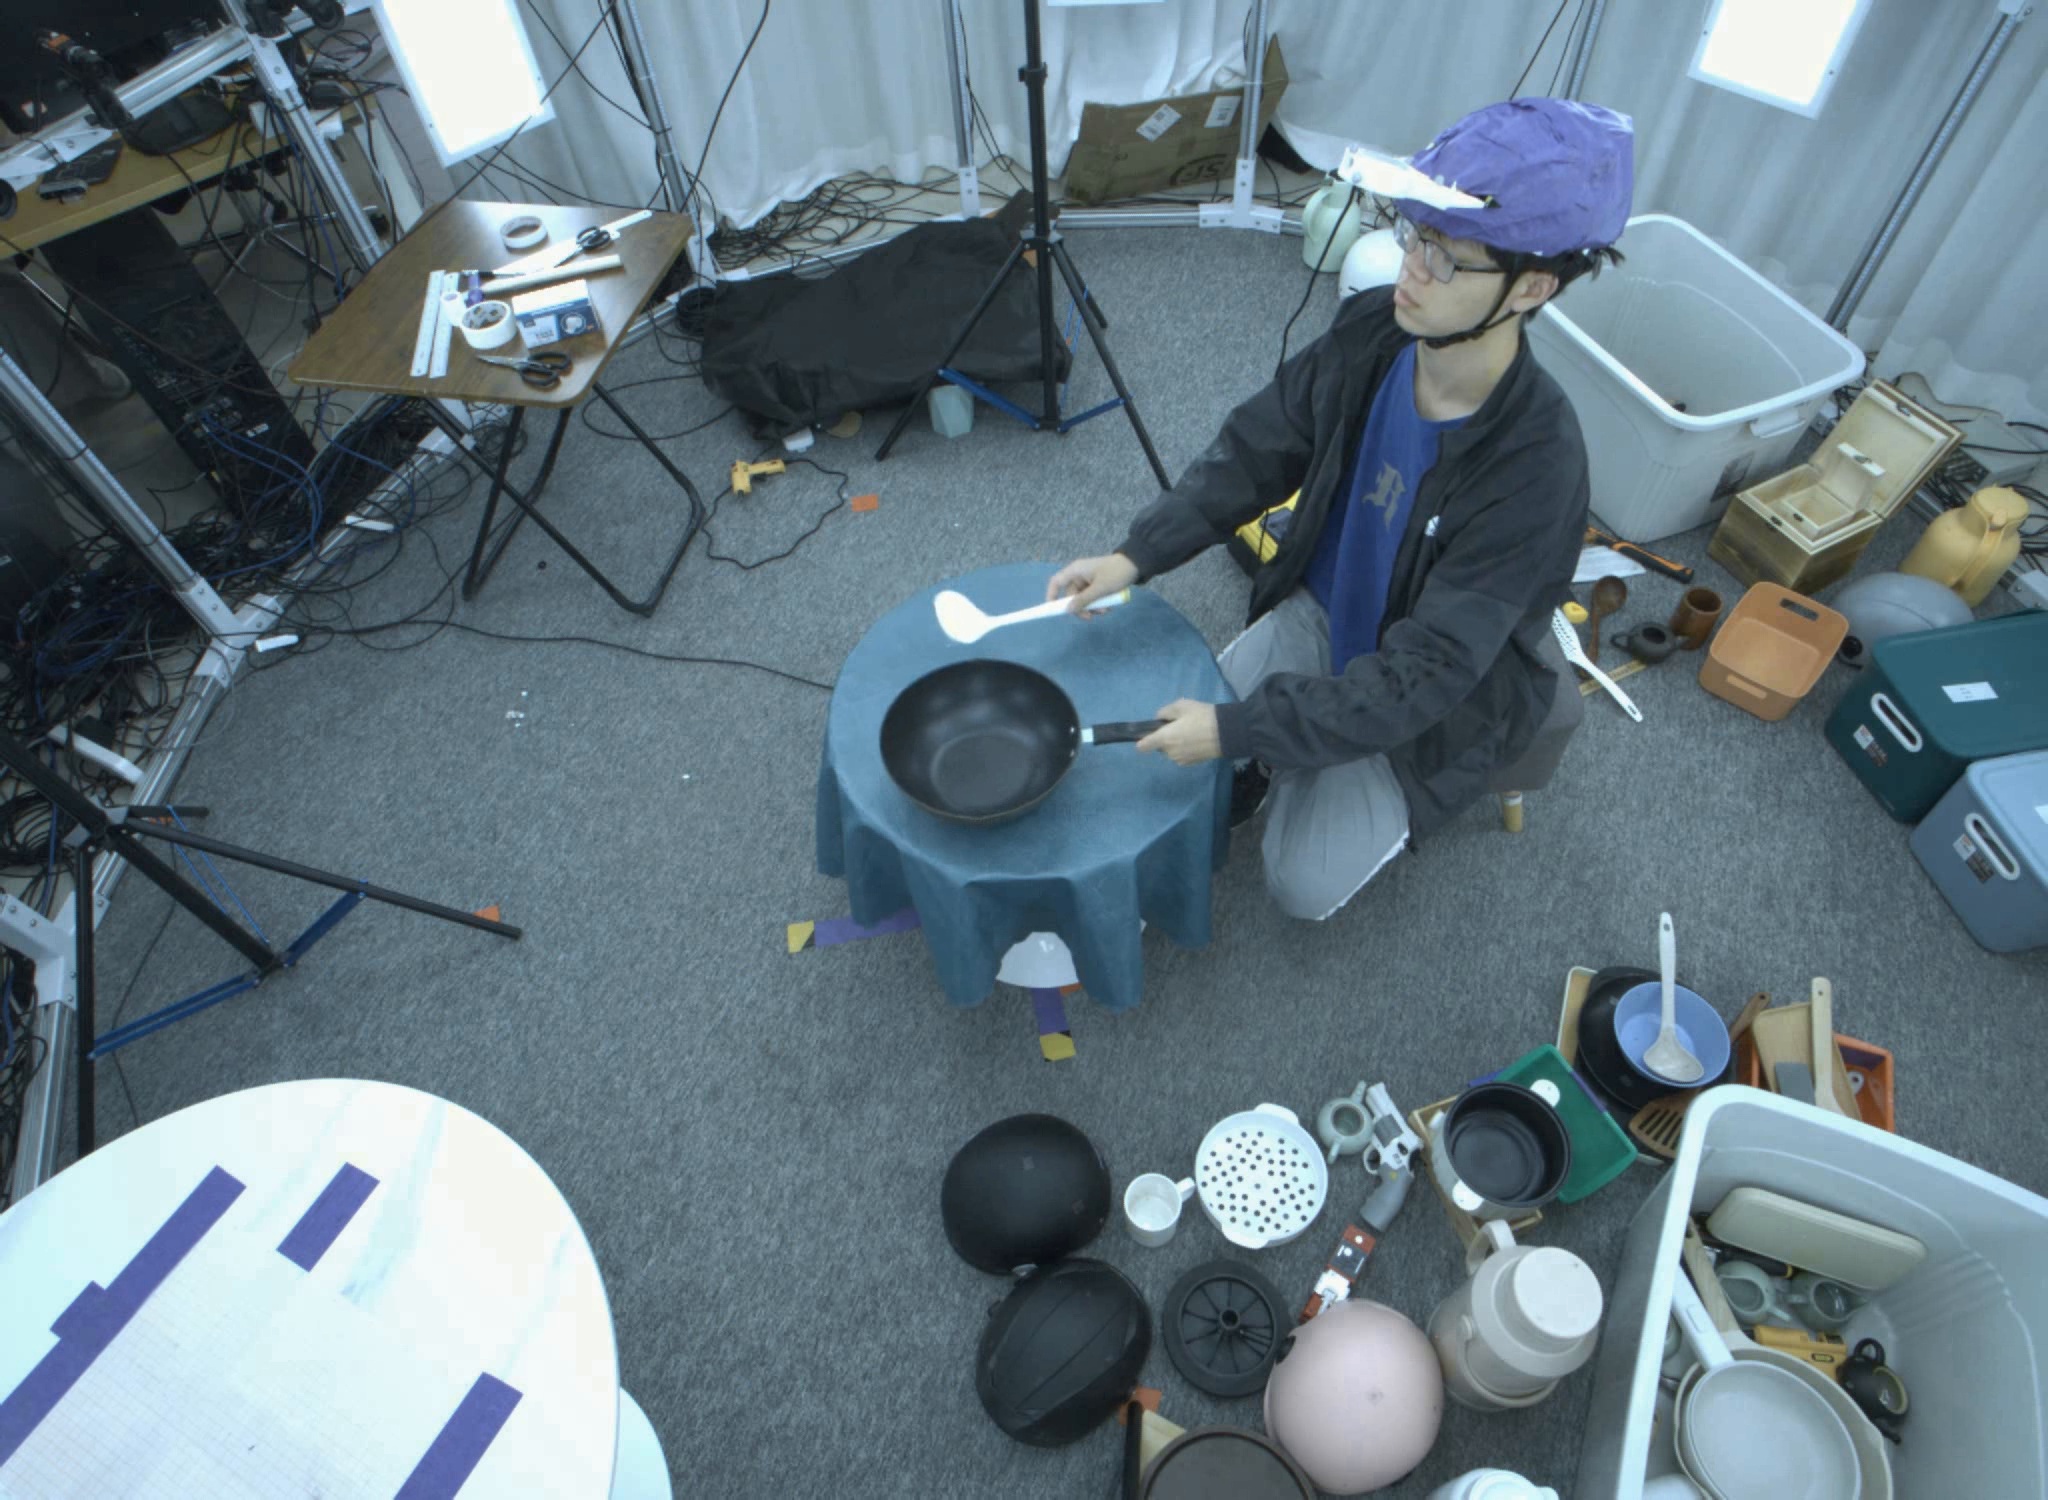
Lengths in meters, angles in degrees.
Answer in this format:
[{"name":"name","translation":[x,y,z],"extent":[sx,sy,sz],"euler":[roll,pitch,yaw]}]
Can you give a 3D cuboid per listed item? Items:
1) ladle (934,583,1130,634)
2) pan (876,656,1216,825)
[{"name":"ladle","translation":[0.013,-0.221,1.810],"extent":[0.294,0.070,0.089],"euler":[-9,57,-7]},{"name":"pan","translation":[0.031,-0.002,1.705],"extent":[0.464,0.088,0.285],"euler":[-1,52,-1]}]
